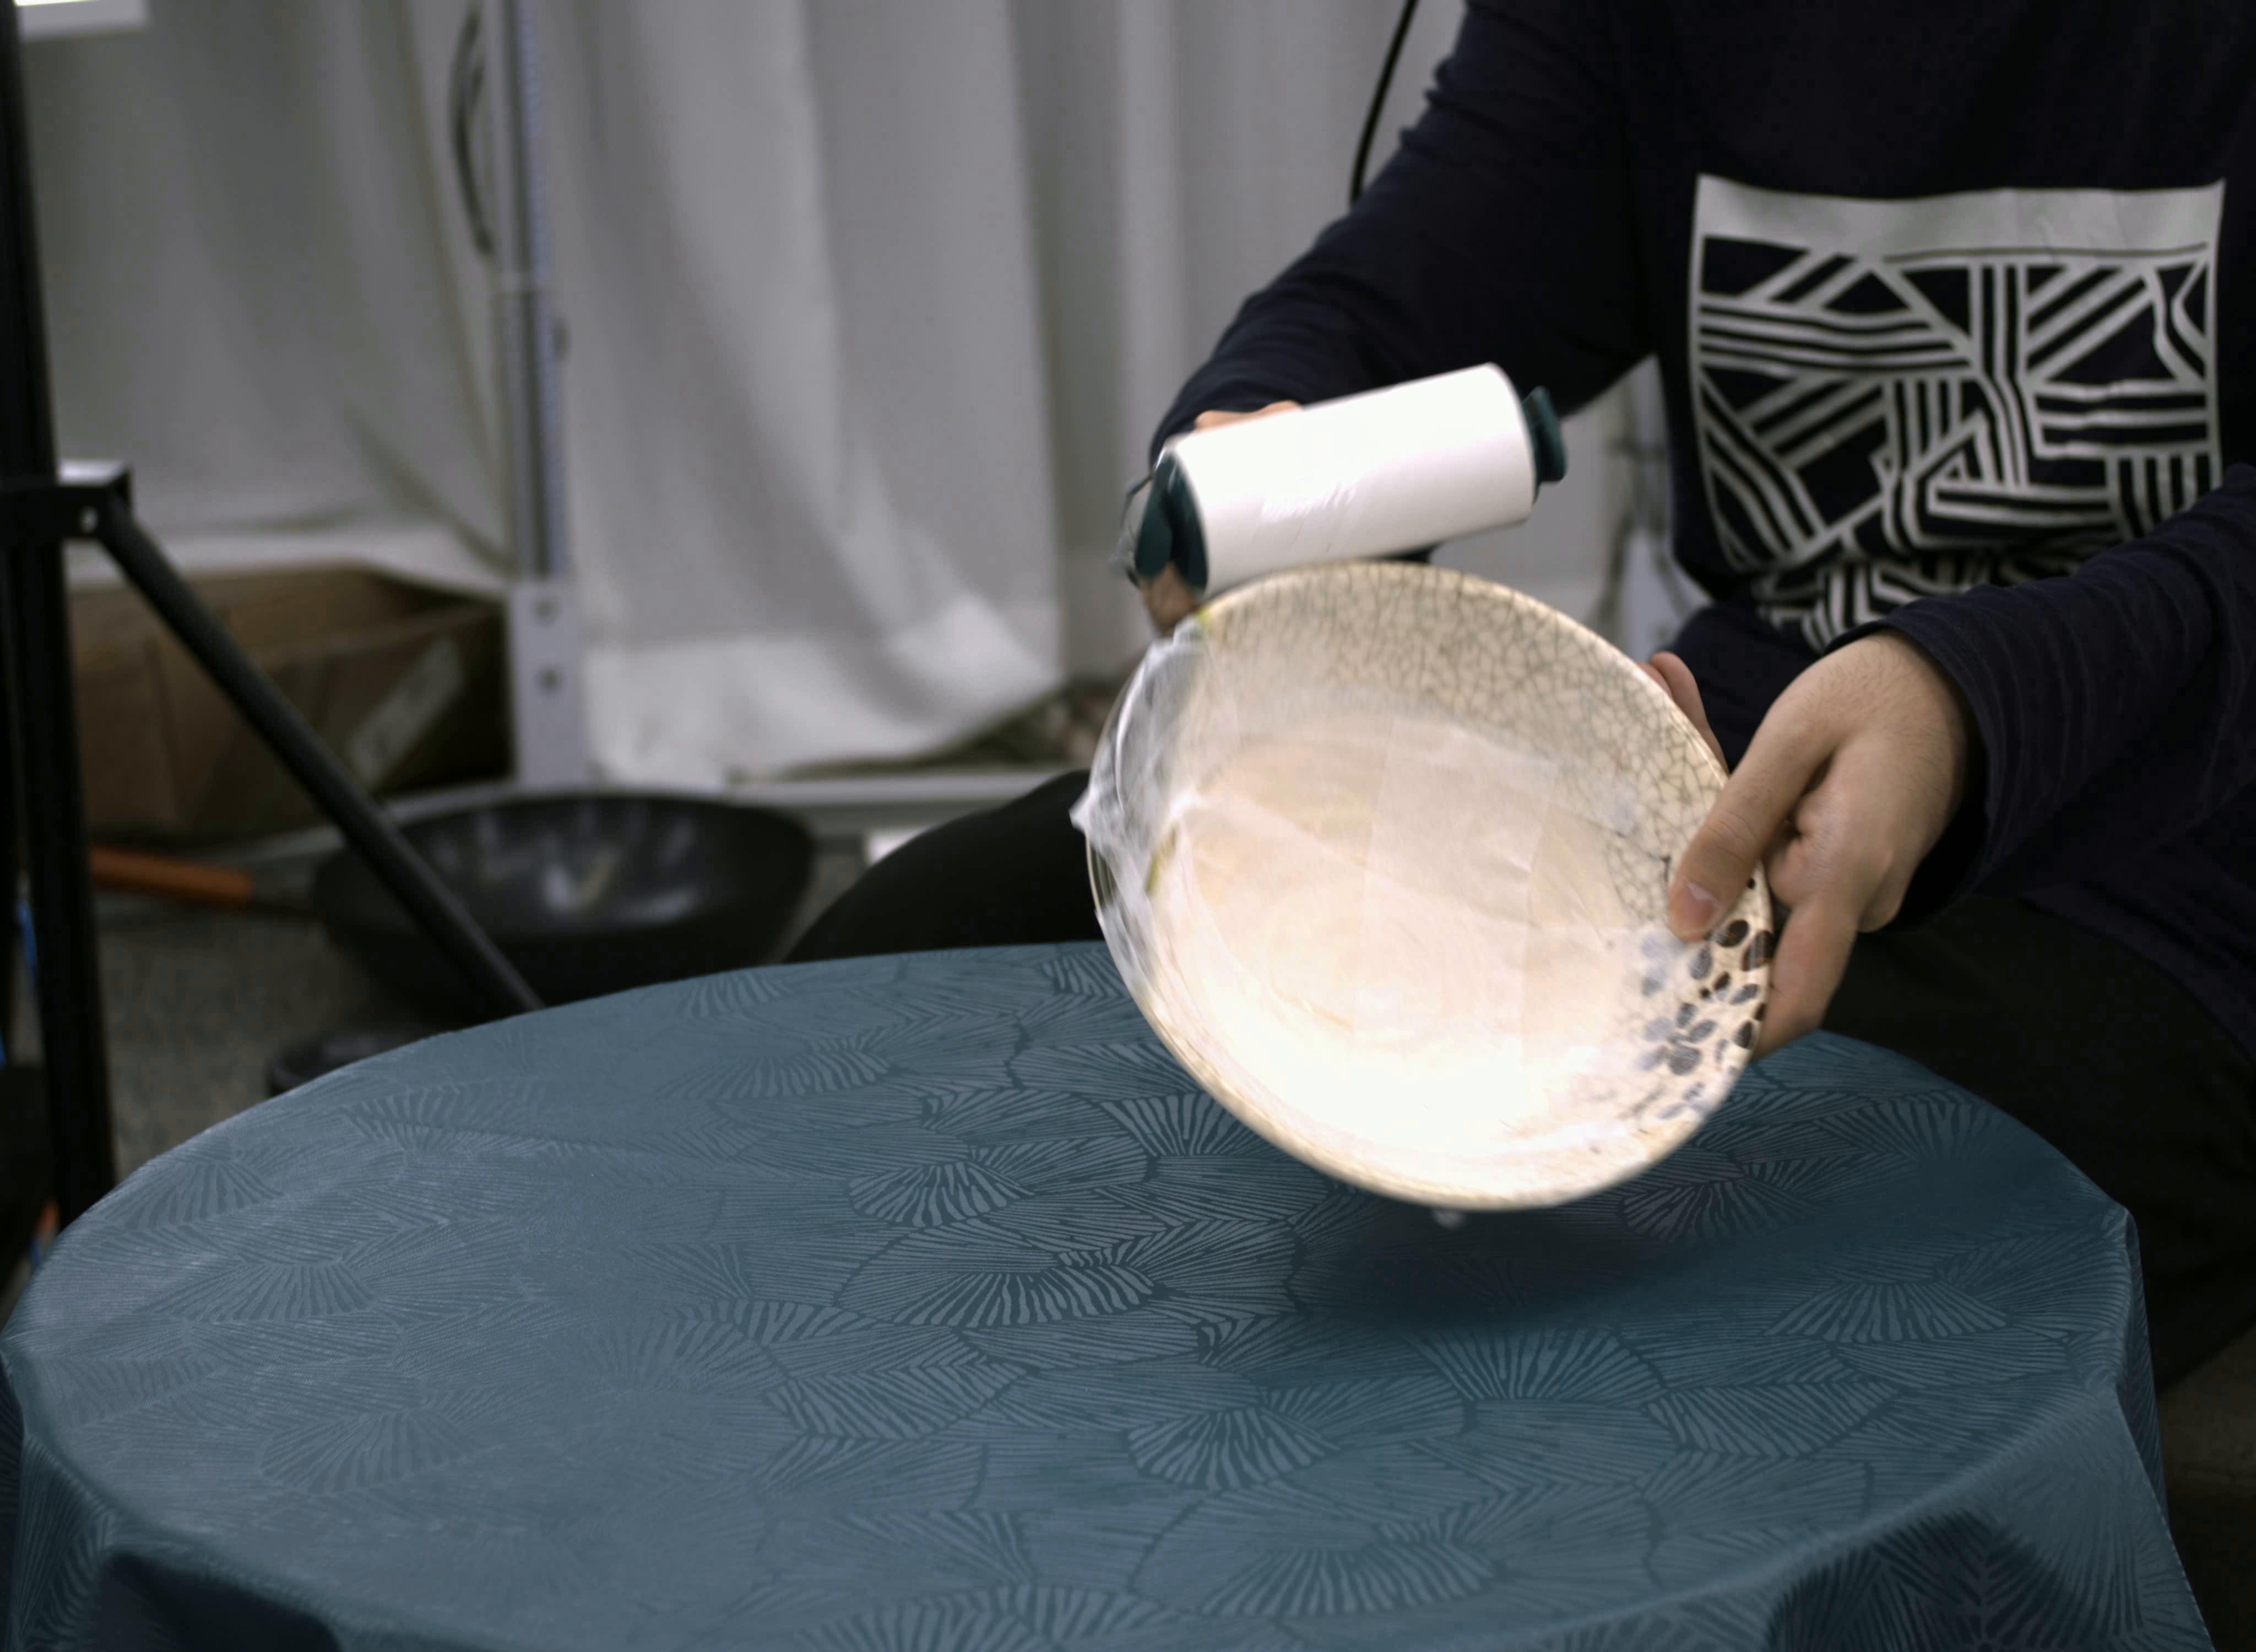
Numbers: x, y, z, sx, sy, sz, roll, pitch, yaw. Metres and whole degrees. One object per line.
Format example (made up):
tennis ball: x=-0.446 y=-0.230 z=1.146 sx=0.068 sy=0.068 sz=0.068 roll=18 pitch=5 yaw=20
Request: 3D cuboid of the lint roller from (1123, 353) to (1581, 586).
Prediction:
lint roller: x=0.052 y=-0.099 z=1.597 sx=0.132 sy=0.048 sz=0.181 roll=-11 pitch=-1 yaw=-12

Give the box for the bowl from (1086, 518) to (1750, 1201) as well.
bowl: x=0.070 y=0.021 z=1.512 sx=0.200 sy=0.206 sz=0.078 roll=-10 pitch=-19 yaw=-25
